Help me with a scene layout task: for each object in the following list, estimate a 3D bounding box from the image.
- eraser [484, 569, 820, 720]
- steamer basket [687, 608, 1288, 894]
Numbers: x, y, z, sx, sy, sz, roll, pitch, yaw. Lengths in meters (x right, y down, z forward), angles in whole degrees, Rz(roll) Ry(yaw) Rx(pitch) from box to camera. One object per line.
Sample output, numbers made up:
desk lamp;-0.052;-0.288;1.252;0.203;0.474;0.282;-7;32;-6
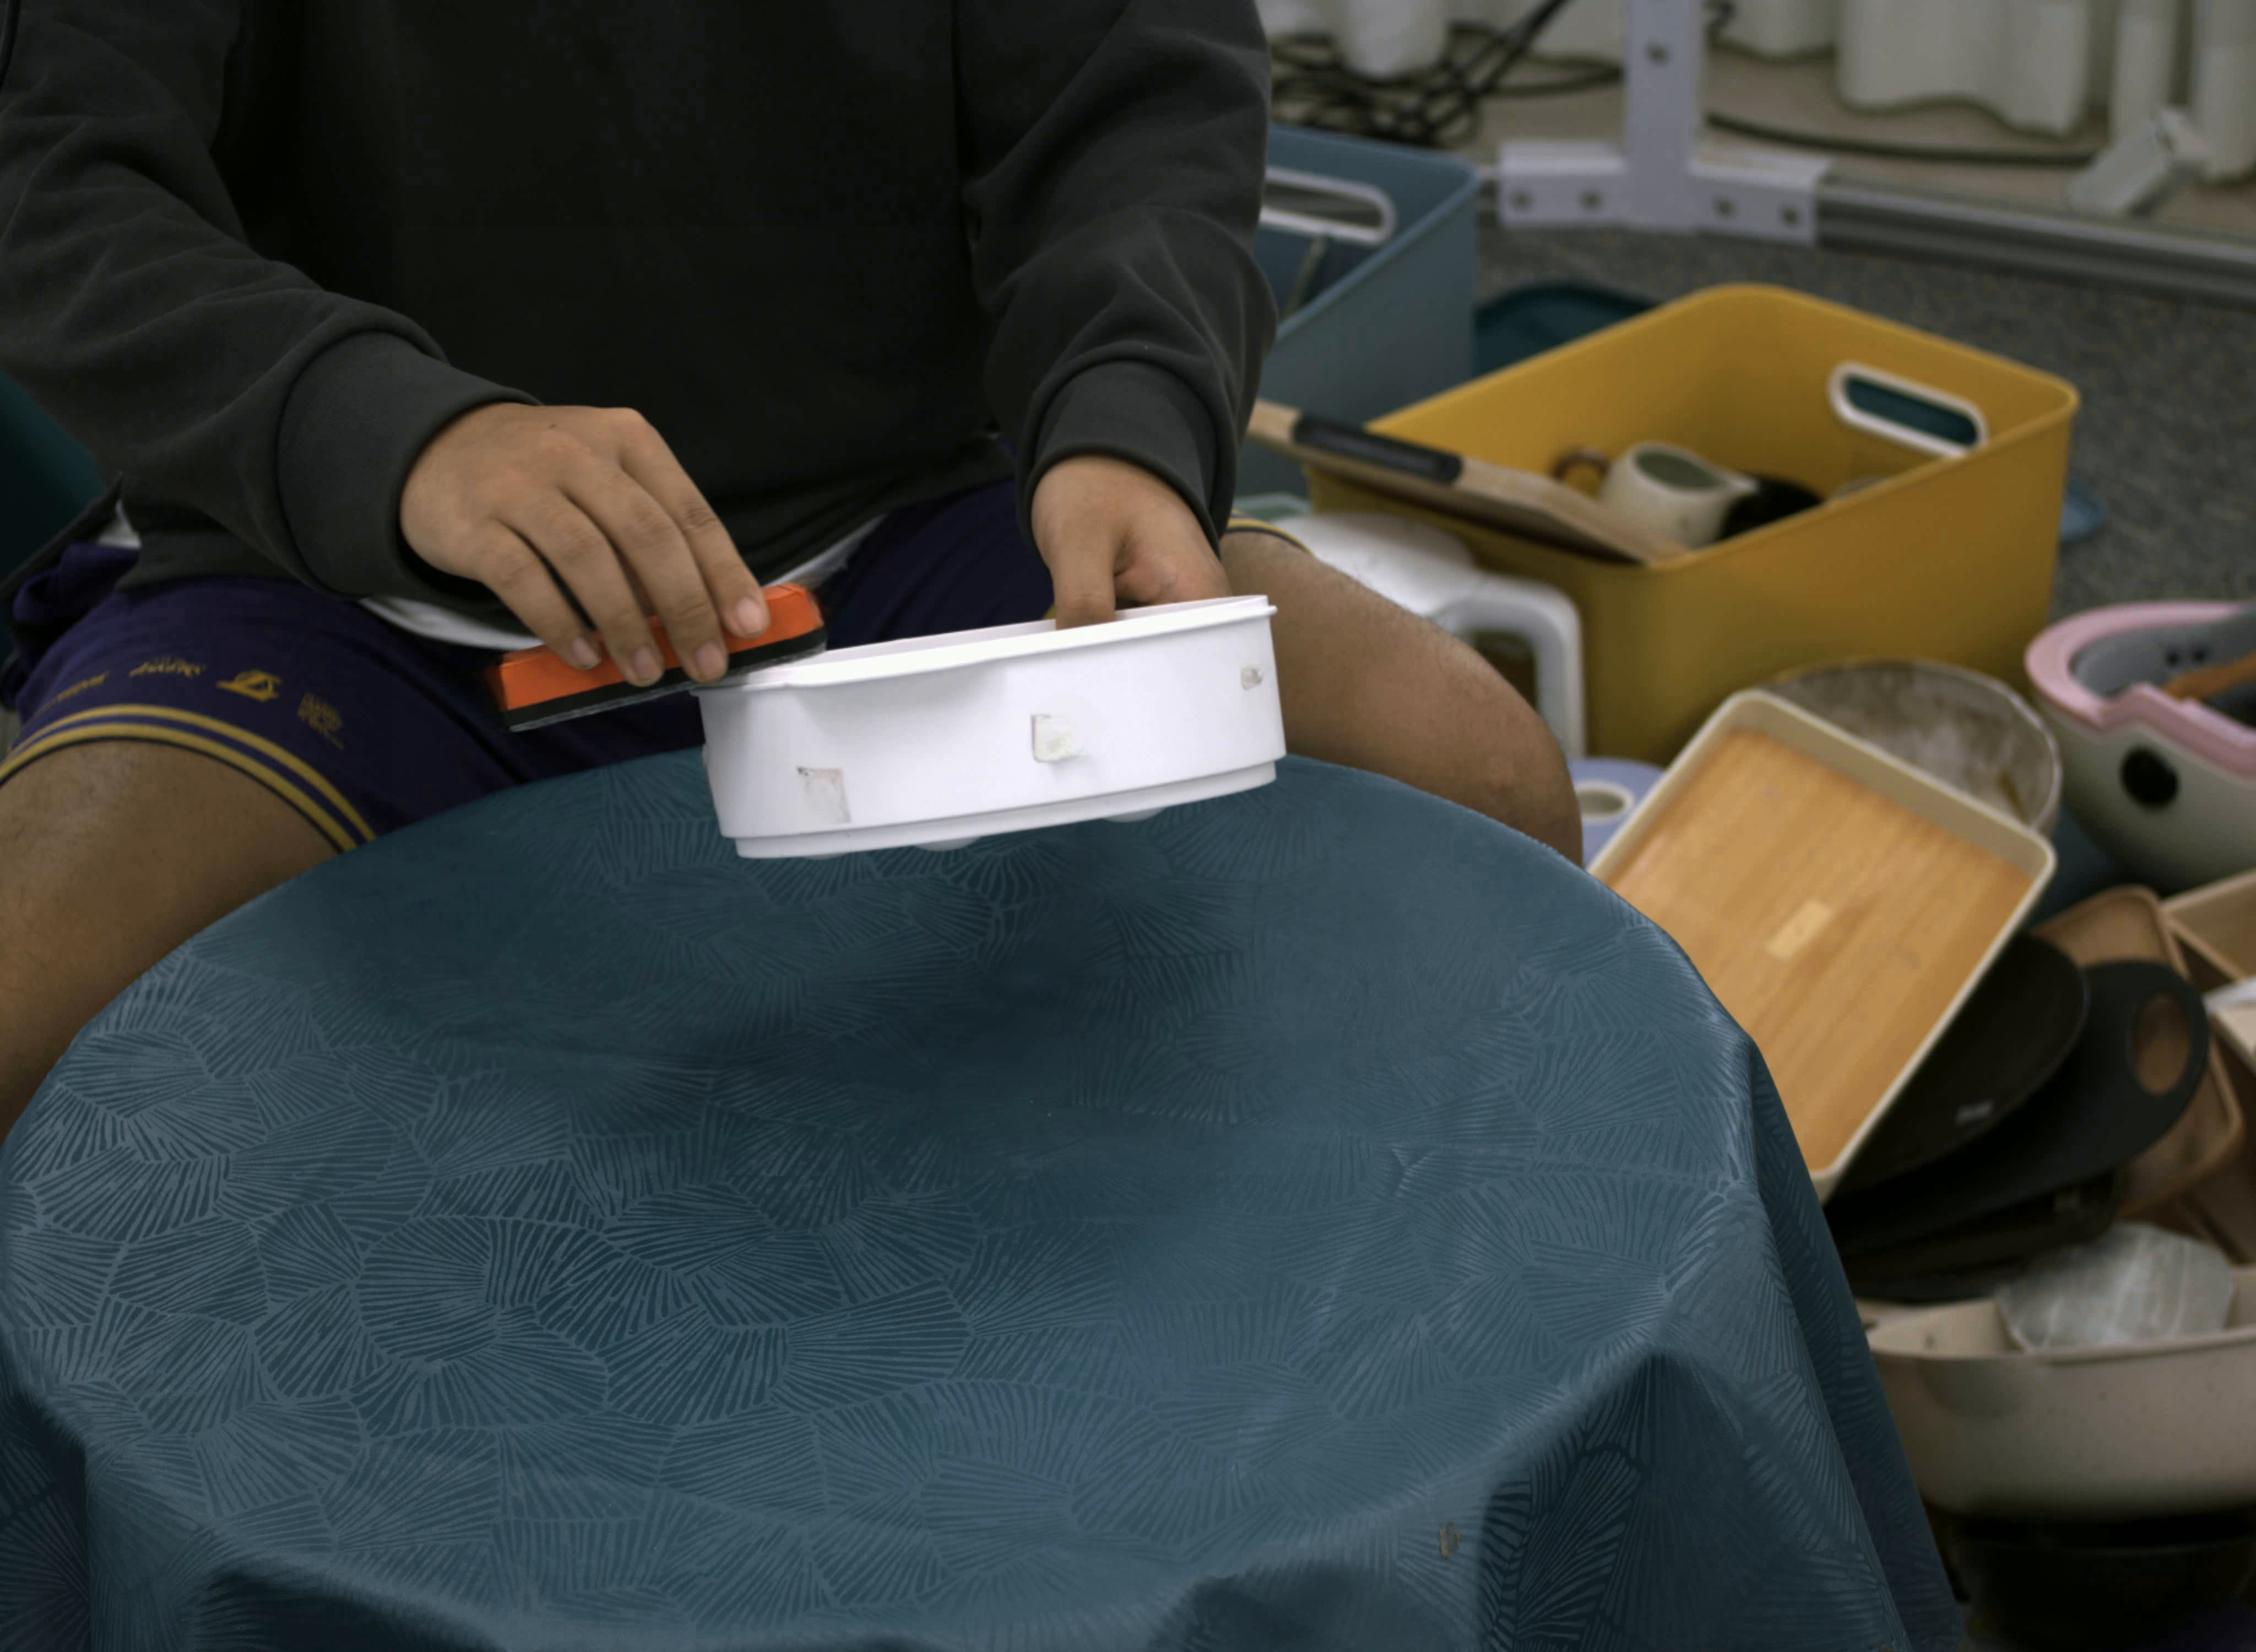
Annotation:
eraser;-0.158;-0.060;1.858;0.108;0.023;0.059;-16;1;-9
steamer basket;-0.045;-0.023;1.895;0.200;0.069;0.231;-11;-2;16
